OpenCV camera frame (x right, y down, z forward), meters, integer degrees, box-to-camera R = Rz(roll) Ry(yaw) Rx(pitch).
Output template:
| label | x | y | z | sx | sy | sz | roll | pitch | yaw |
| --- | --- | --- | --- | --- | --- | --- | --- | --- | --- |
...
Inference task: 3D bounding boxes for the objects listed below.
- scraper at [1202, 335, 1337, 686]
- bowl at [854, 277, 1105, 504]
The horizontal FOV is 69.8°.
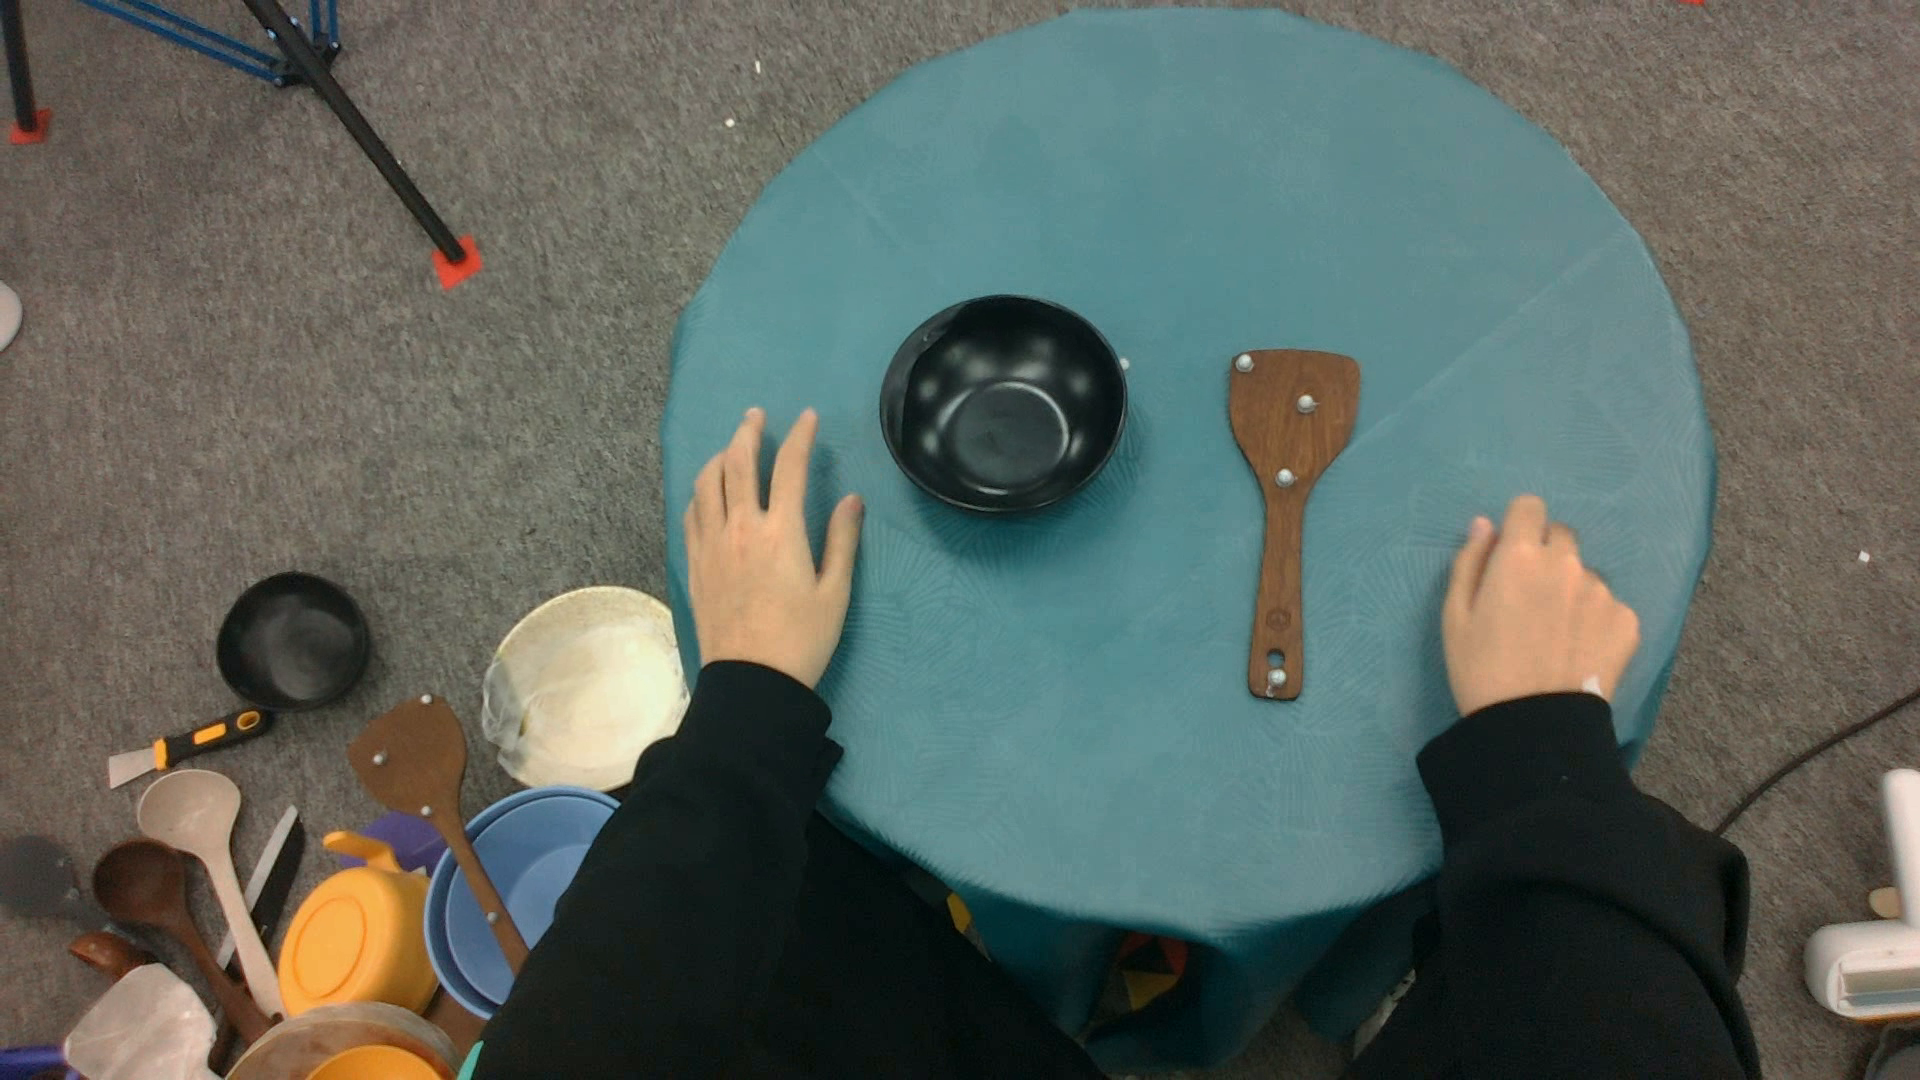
| label | x | y | z | sx | sy | sz | roll | pitch | yaw |
| --- | --- | --- | --- | --- | --- | --- | --- | --- | --- |
| scraper | 0.167 | -0.021 | 0.764 | 0.076 | 0.011 | 0.212 | 5 | 67 | 8 |
| bowl | 0.011 | -0.077 | 0.780 | 0.140 | 0.049 | 0.140 | -1 | 67 | 1 |
